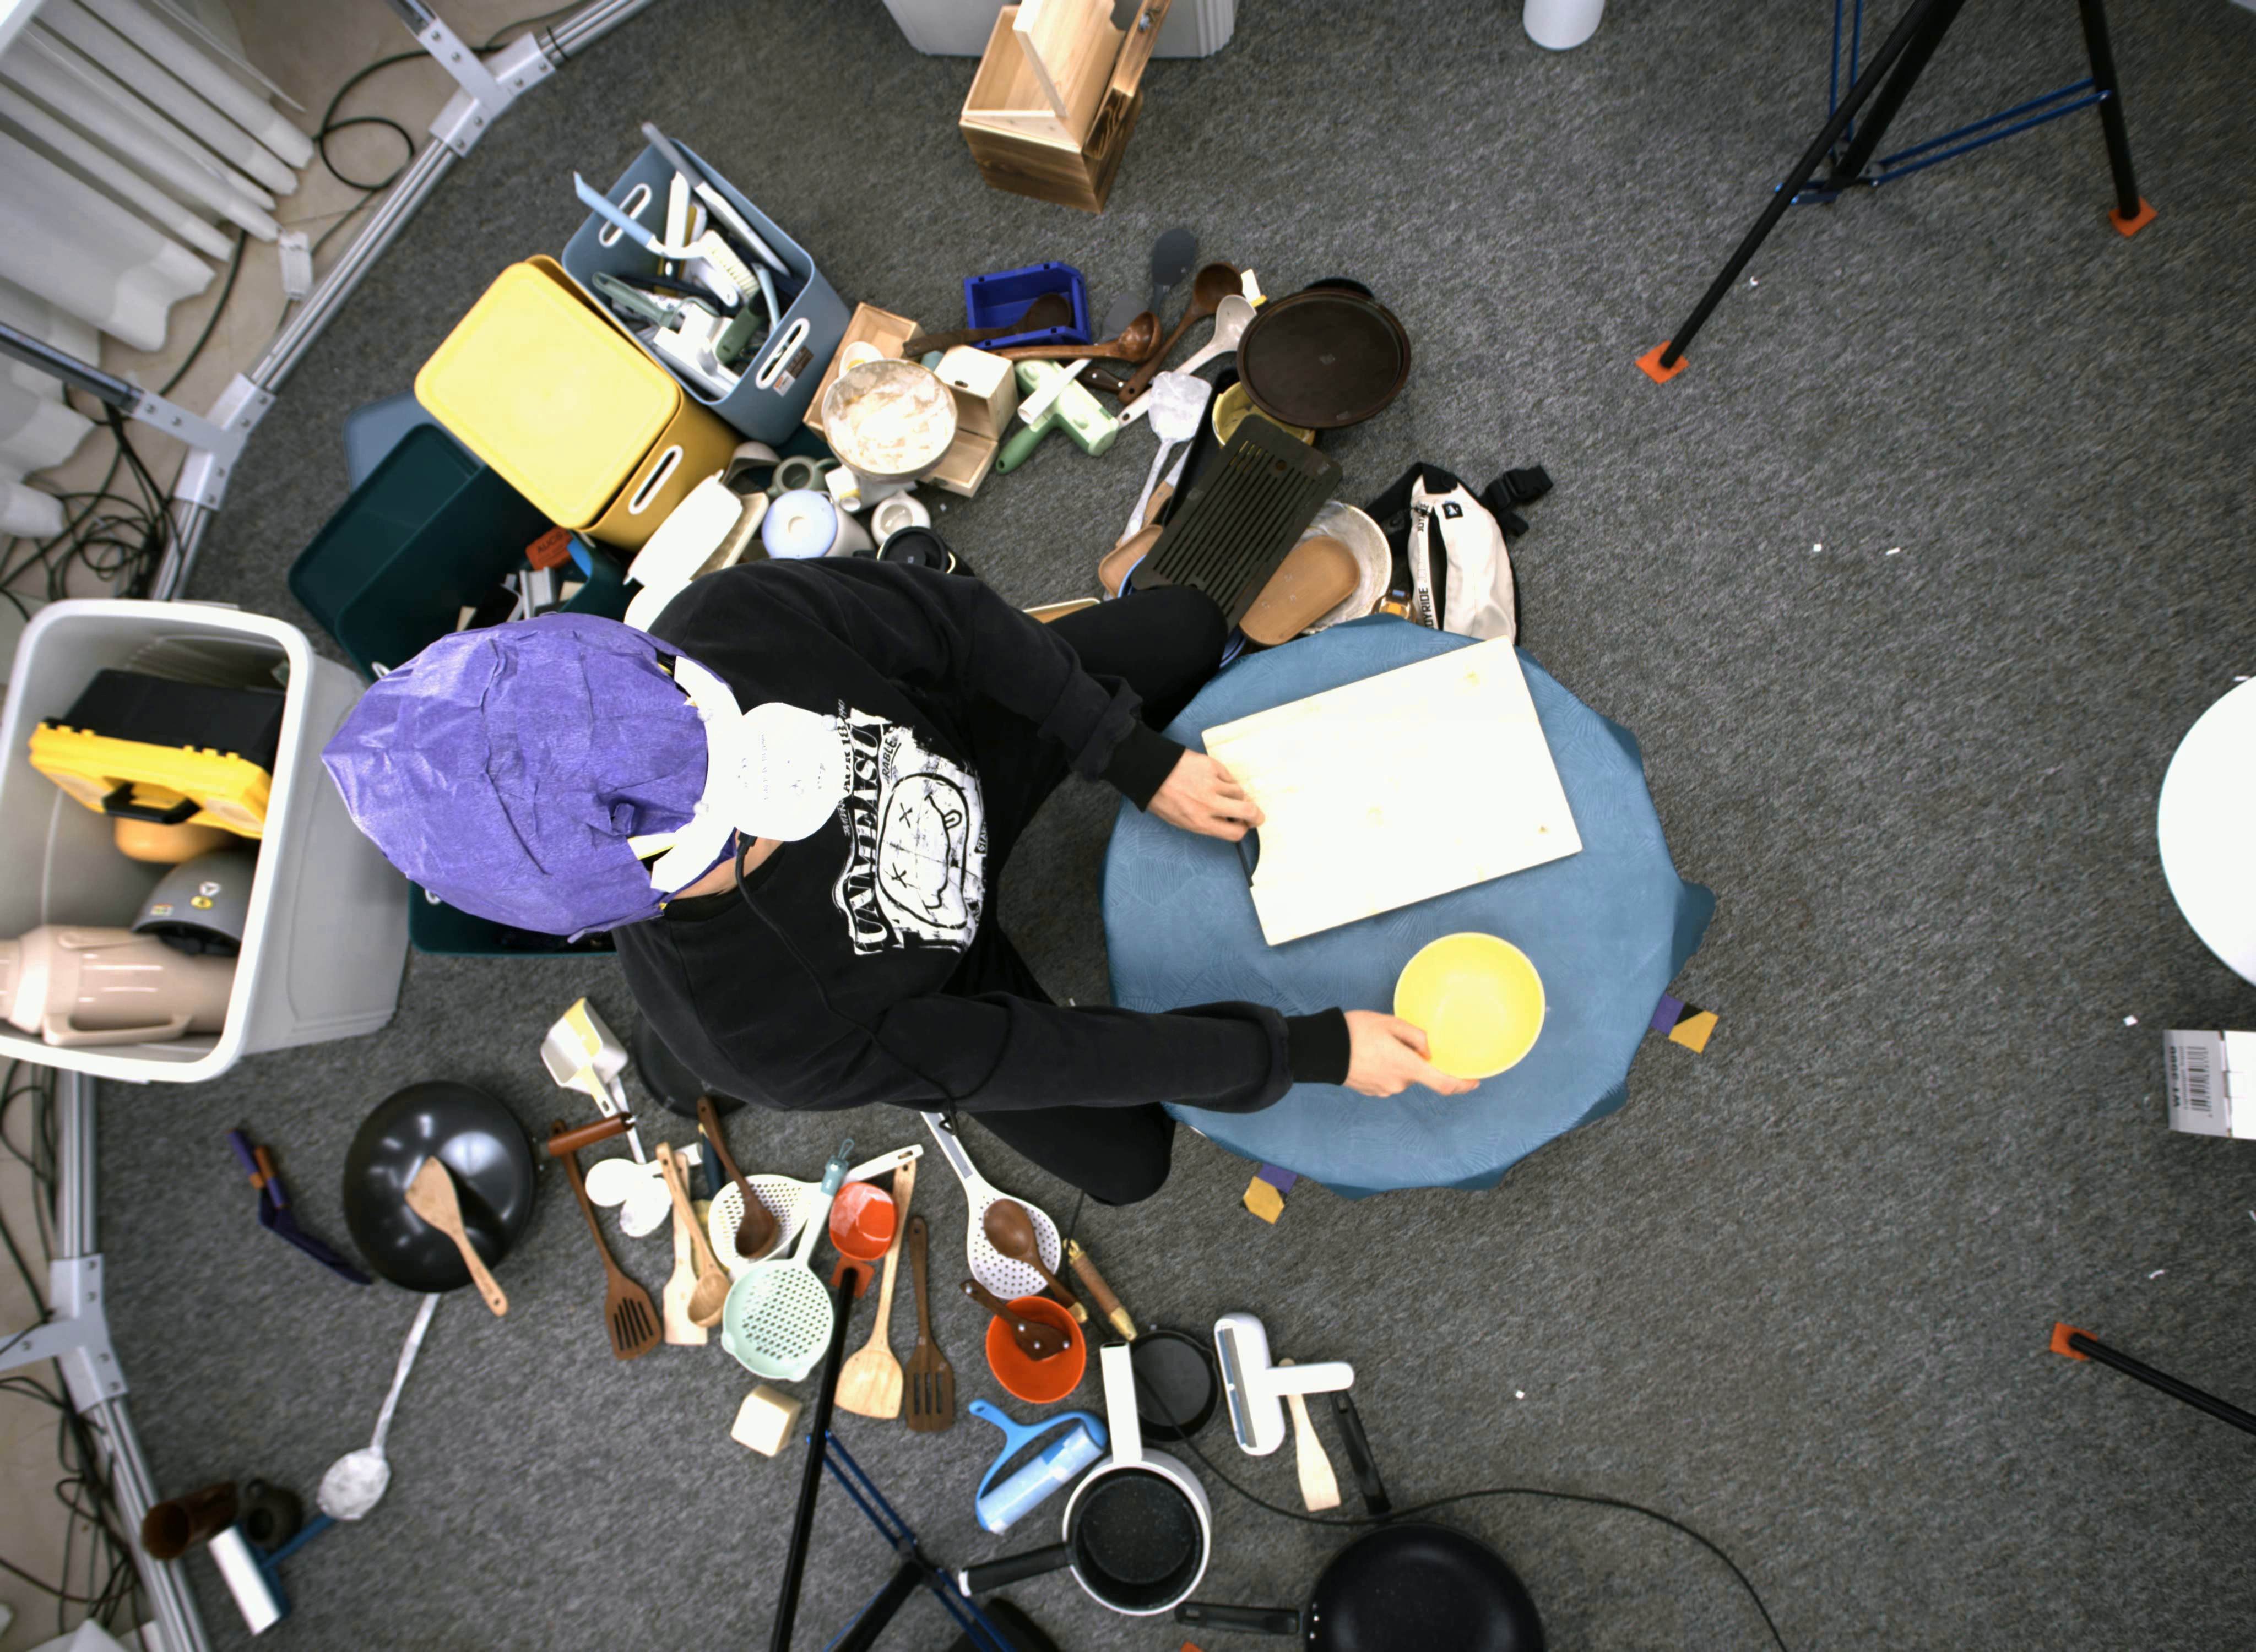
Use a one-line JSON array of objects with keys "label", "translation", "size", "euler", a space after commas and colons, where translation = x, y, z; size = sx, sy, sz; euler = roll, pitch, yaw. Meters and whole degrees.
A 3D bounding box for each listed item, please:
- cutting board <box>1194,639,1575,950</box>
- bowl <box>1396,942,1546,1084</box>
[{"label": "cutting board", "translation": [0.271, -0.035, 1.456], "size": [0.350, 0.023, 0.249], "euler": [-19, 83, 6]}, {"label": "bowl", "translation": [0.344, 0.191, 1.376], "size": [0.146, 0.061, 0.142], "euler": [-8, 66, 18]}]
